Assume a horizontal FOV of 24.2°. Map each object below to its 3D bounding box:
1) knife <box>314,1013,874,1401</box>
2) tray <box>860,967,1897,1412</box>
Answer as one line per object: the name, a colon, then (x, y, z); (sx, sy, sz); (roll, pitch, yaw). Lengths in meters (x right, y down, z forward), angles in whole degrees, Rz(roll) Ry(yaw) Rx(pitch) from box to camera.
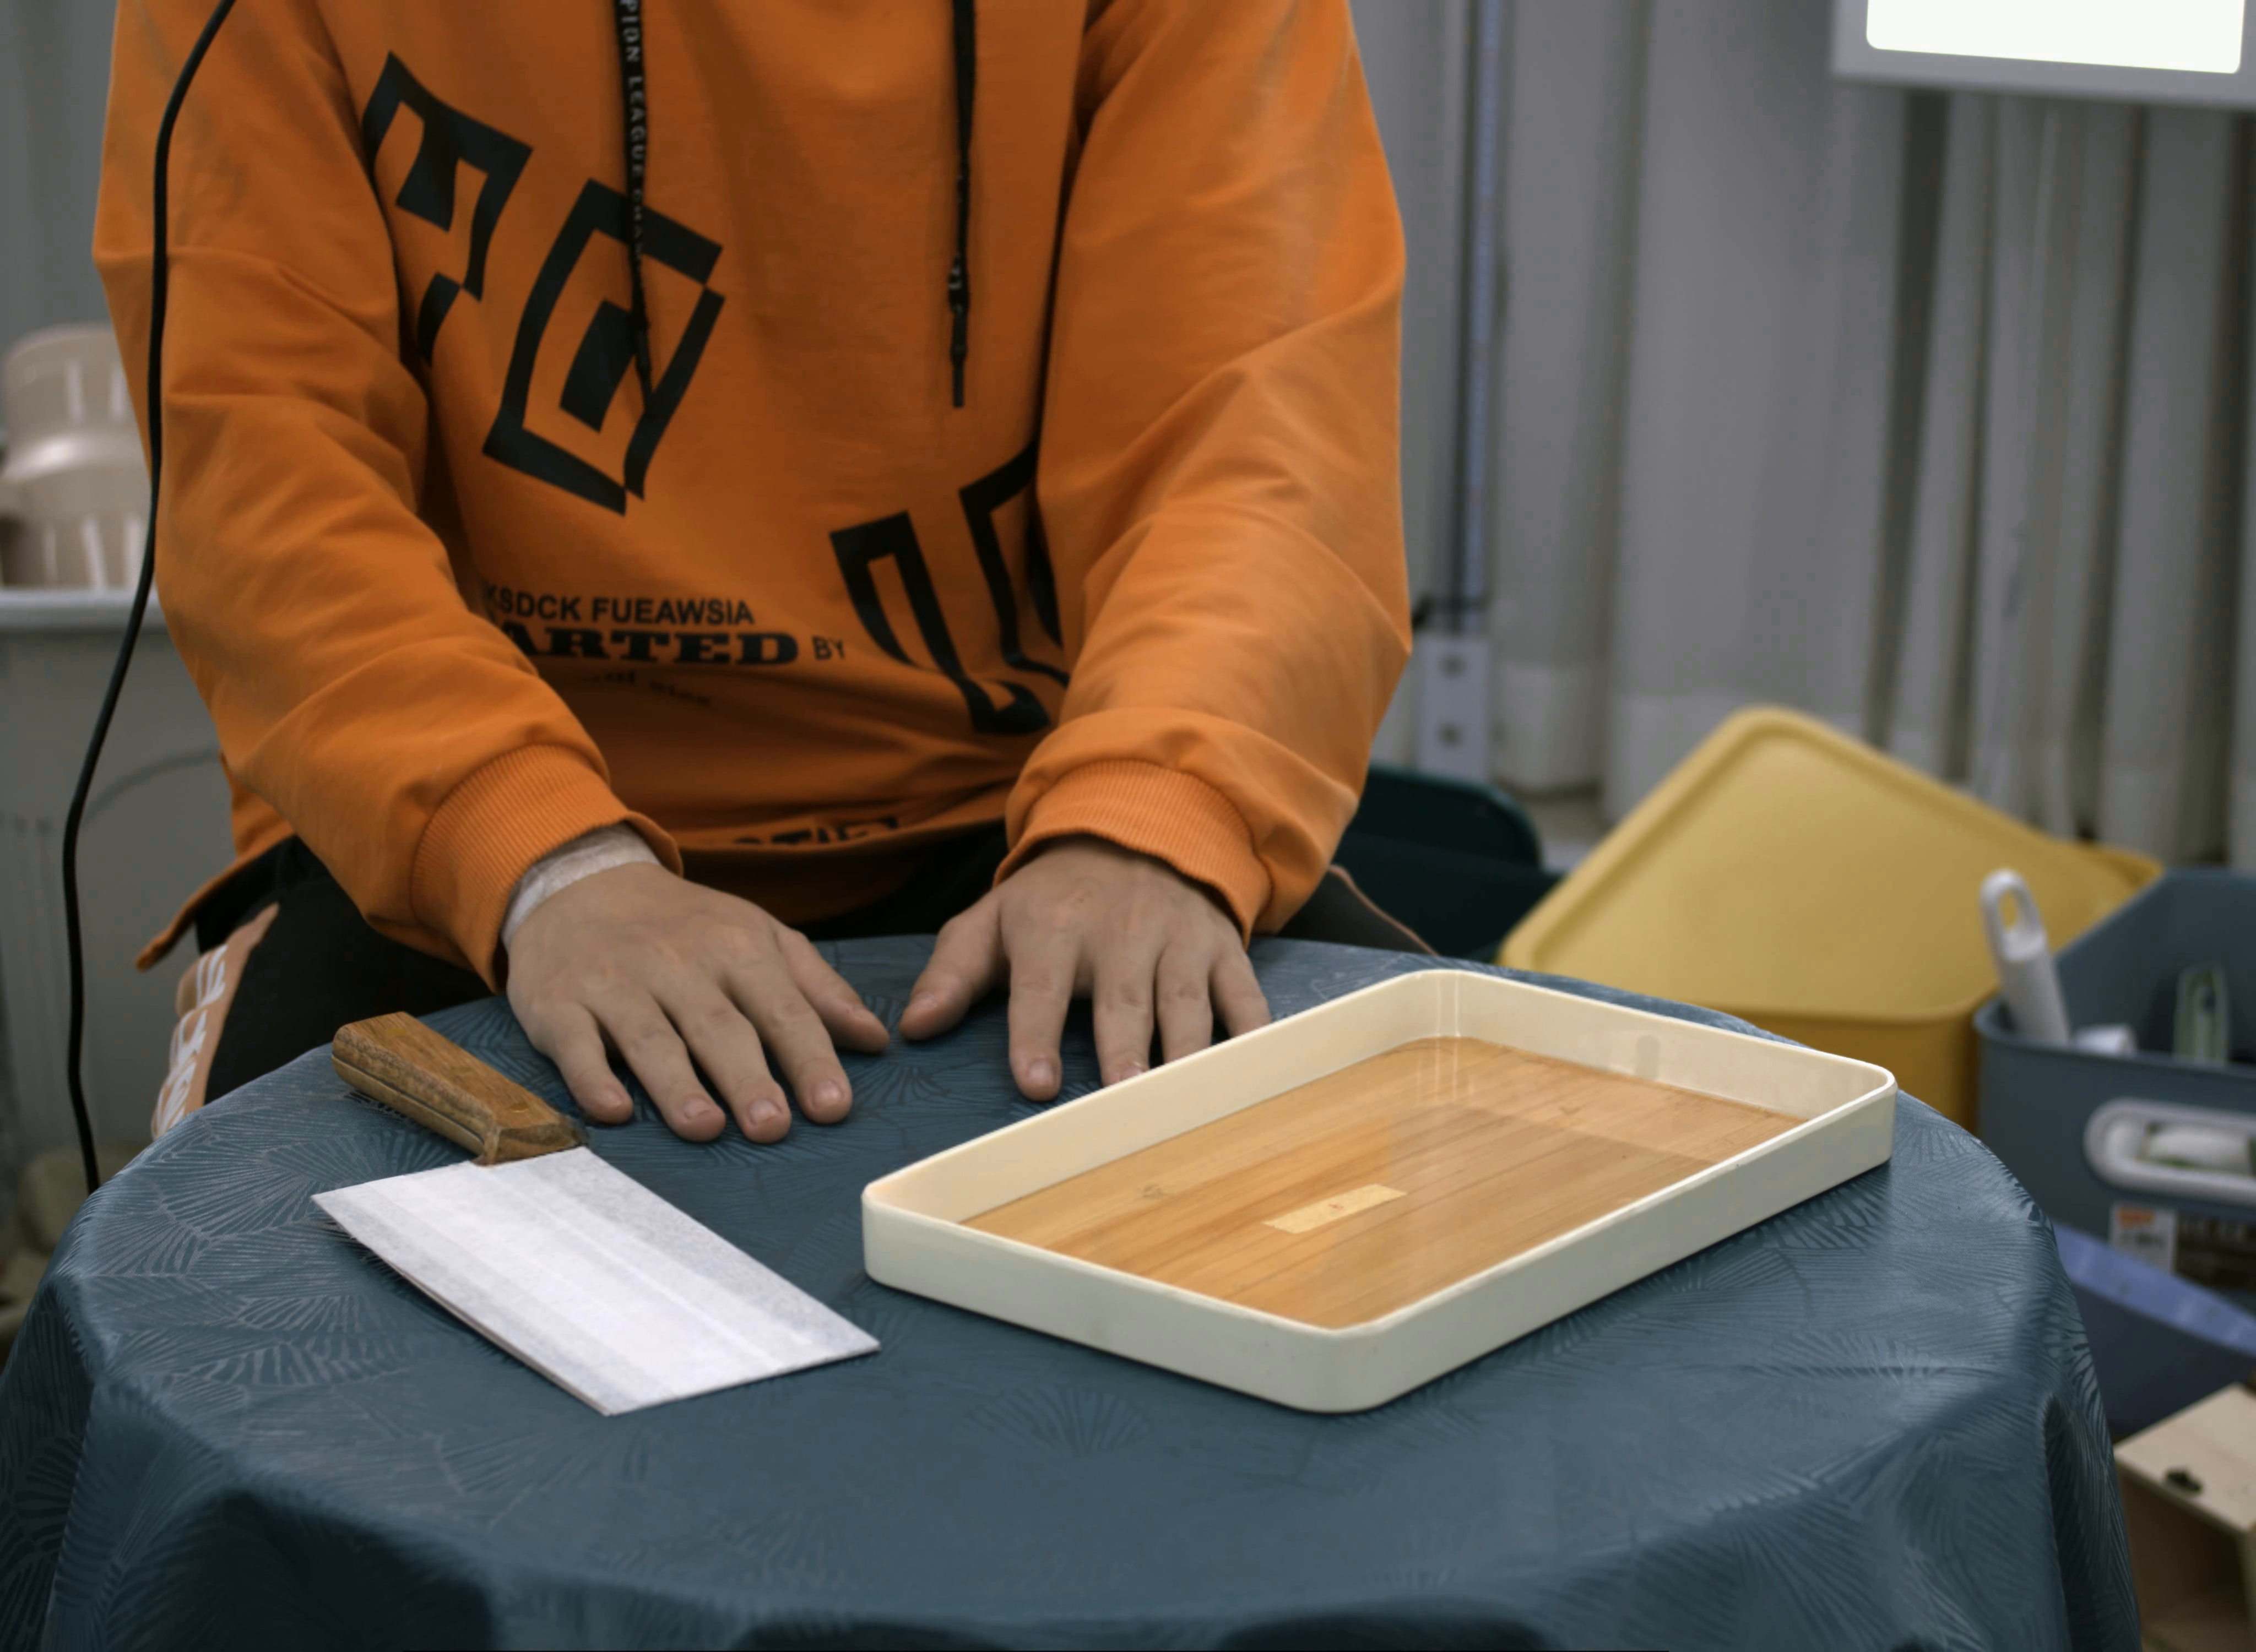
knife: (-0.188, 0.114, 1.583); (0.093, 0.021, 0.301); (-11, 22, -32)
tray: (0.081, 0.105, 1.600); (0.189, 0.027, 0.301); (13, 20, 37)
